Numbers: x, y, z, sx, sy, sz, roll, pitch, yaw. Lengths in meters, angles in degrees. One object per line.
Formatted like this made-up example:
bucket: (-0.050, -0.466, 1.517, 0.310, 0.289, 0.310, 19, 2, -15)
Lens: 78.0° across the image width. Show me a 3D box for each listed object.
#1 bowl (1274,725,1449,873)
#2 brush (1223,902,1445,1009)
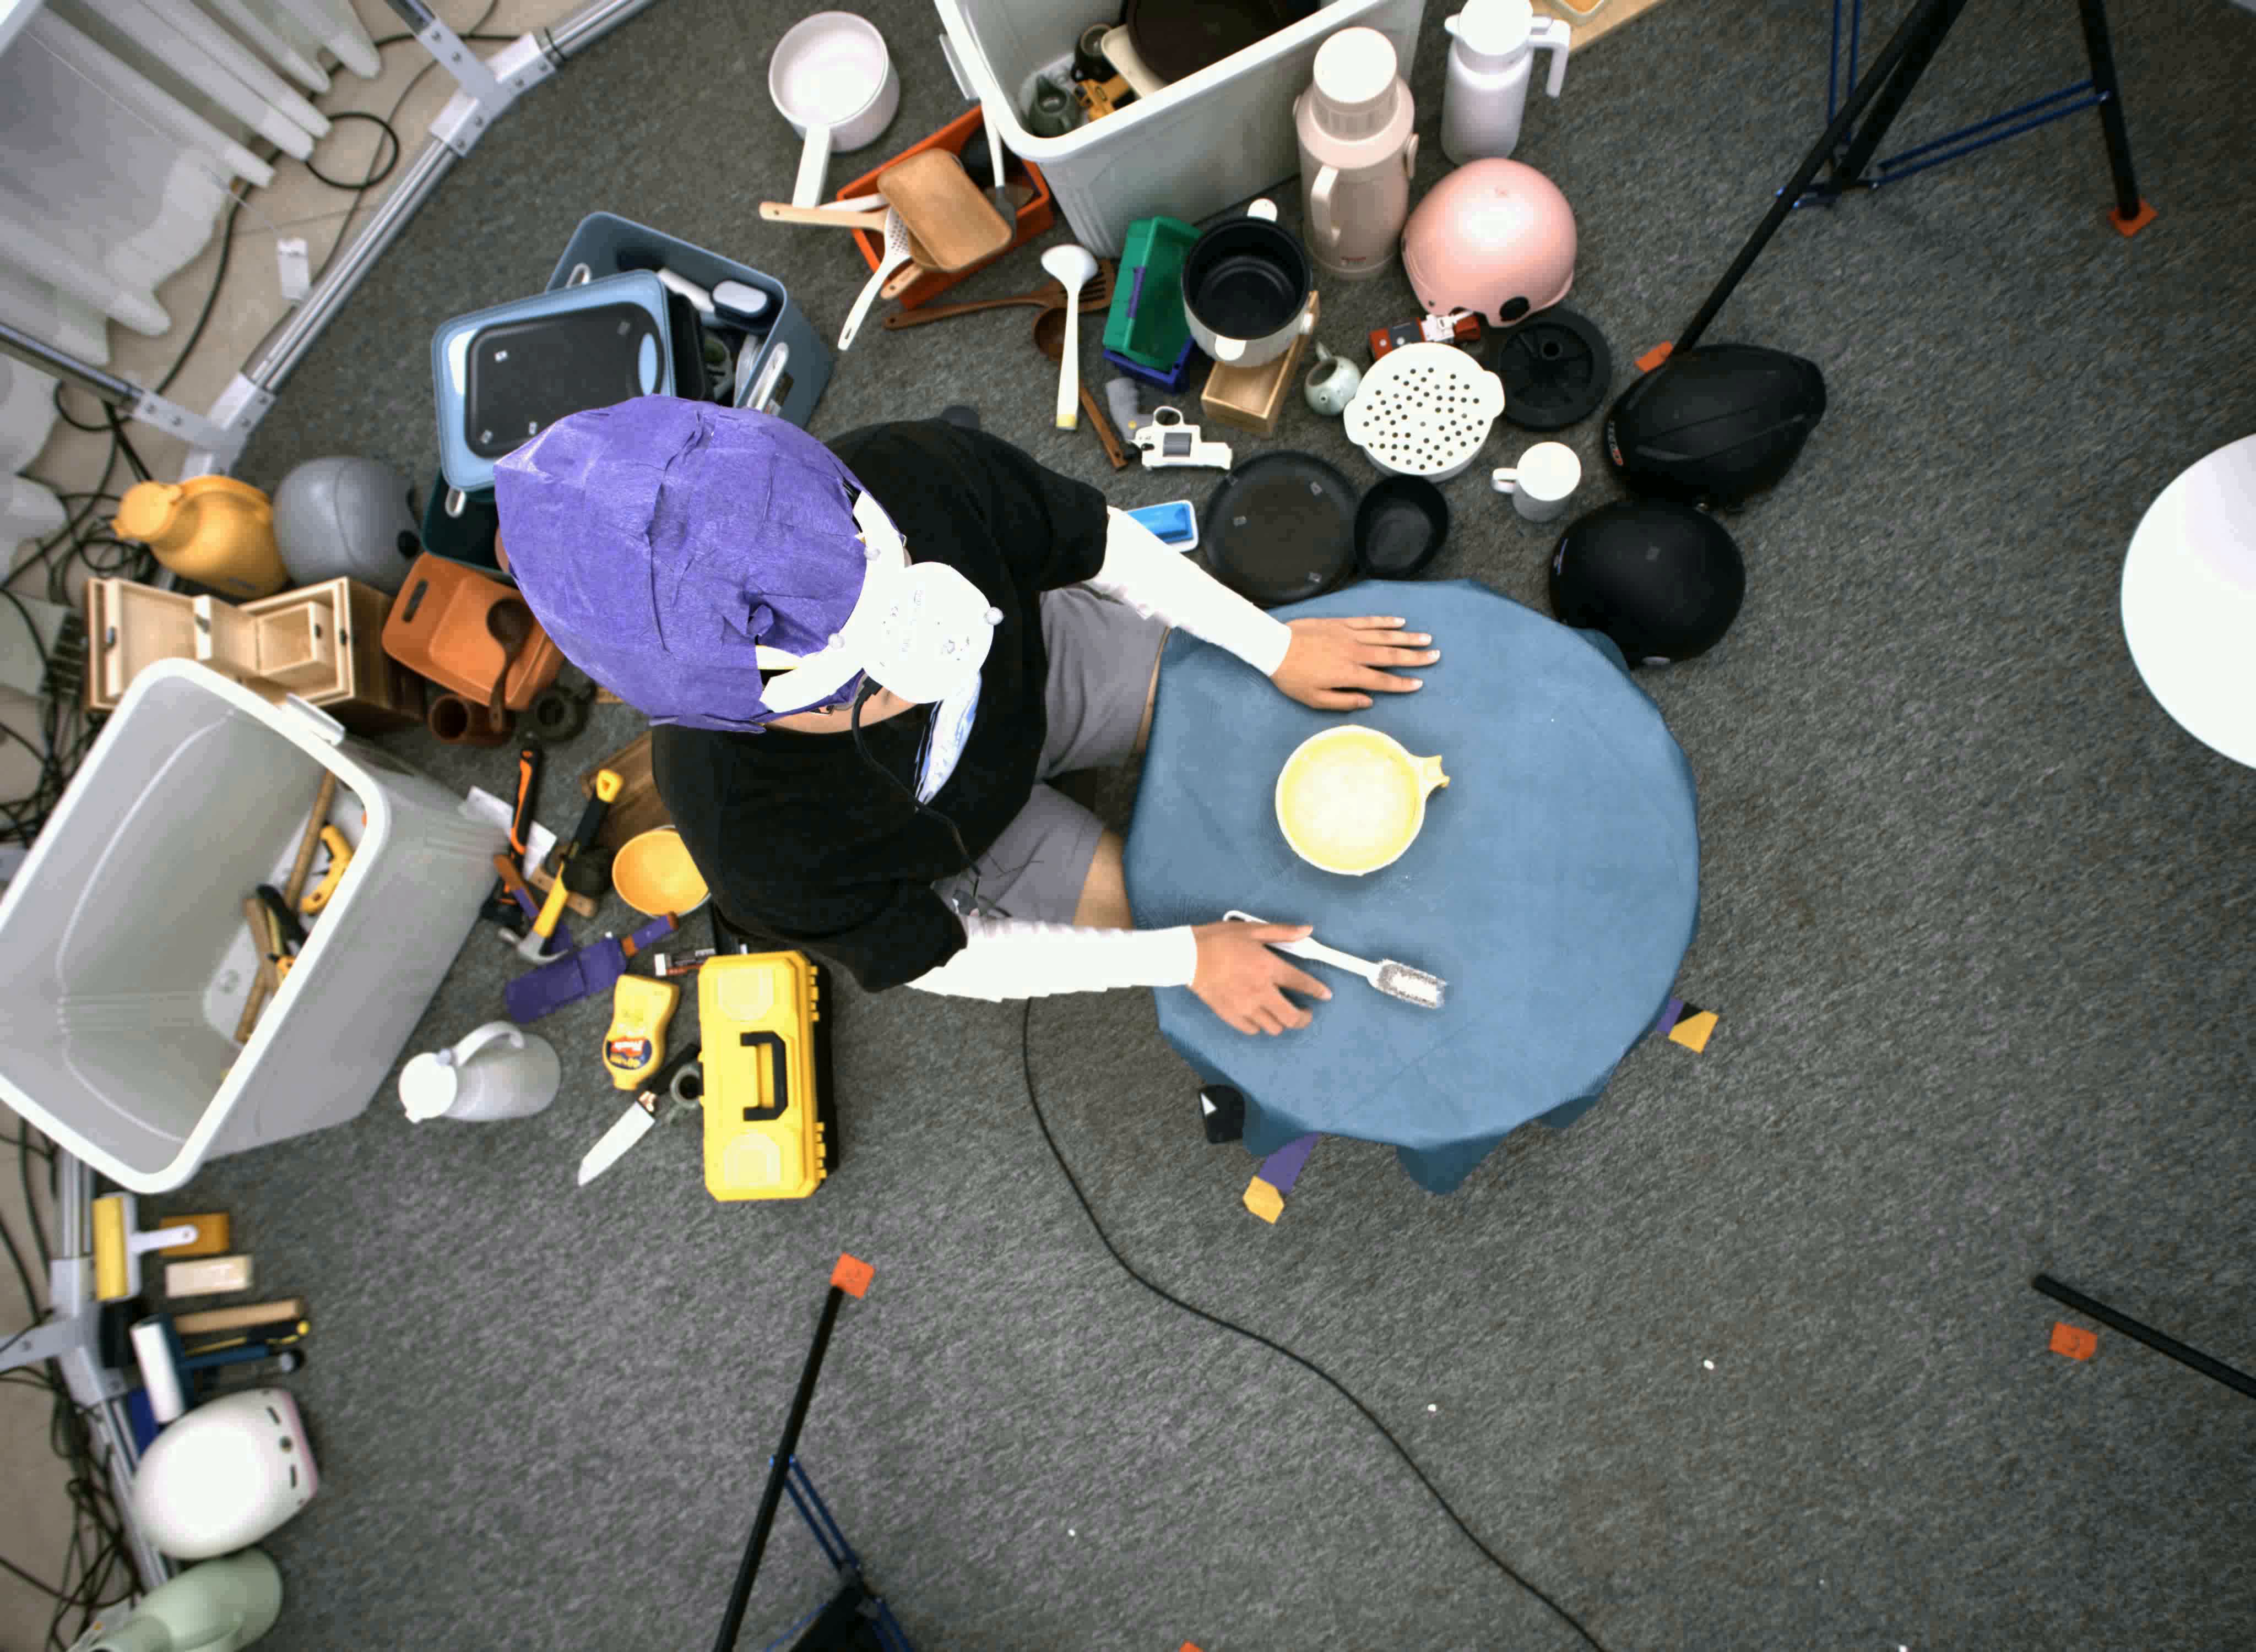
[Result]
bowl: (0.243, -0.028, 1.434, 0.180, 0.074, 0.151, -22, 78, 8)
brush: (0.211, 0.131, 1.441, 0.243, 0.050, 0.034, 22, 91, 11)
